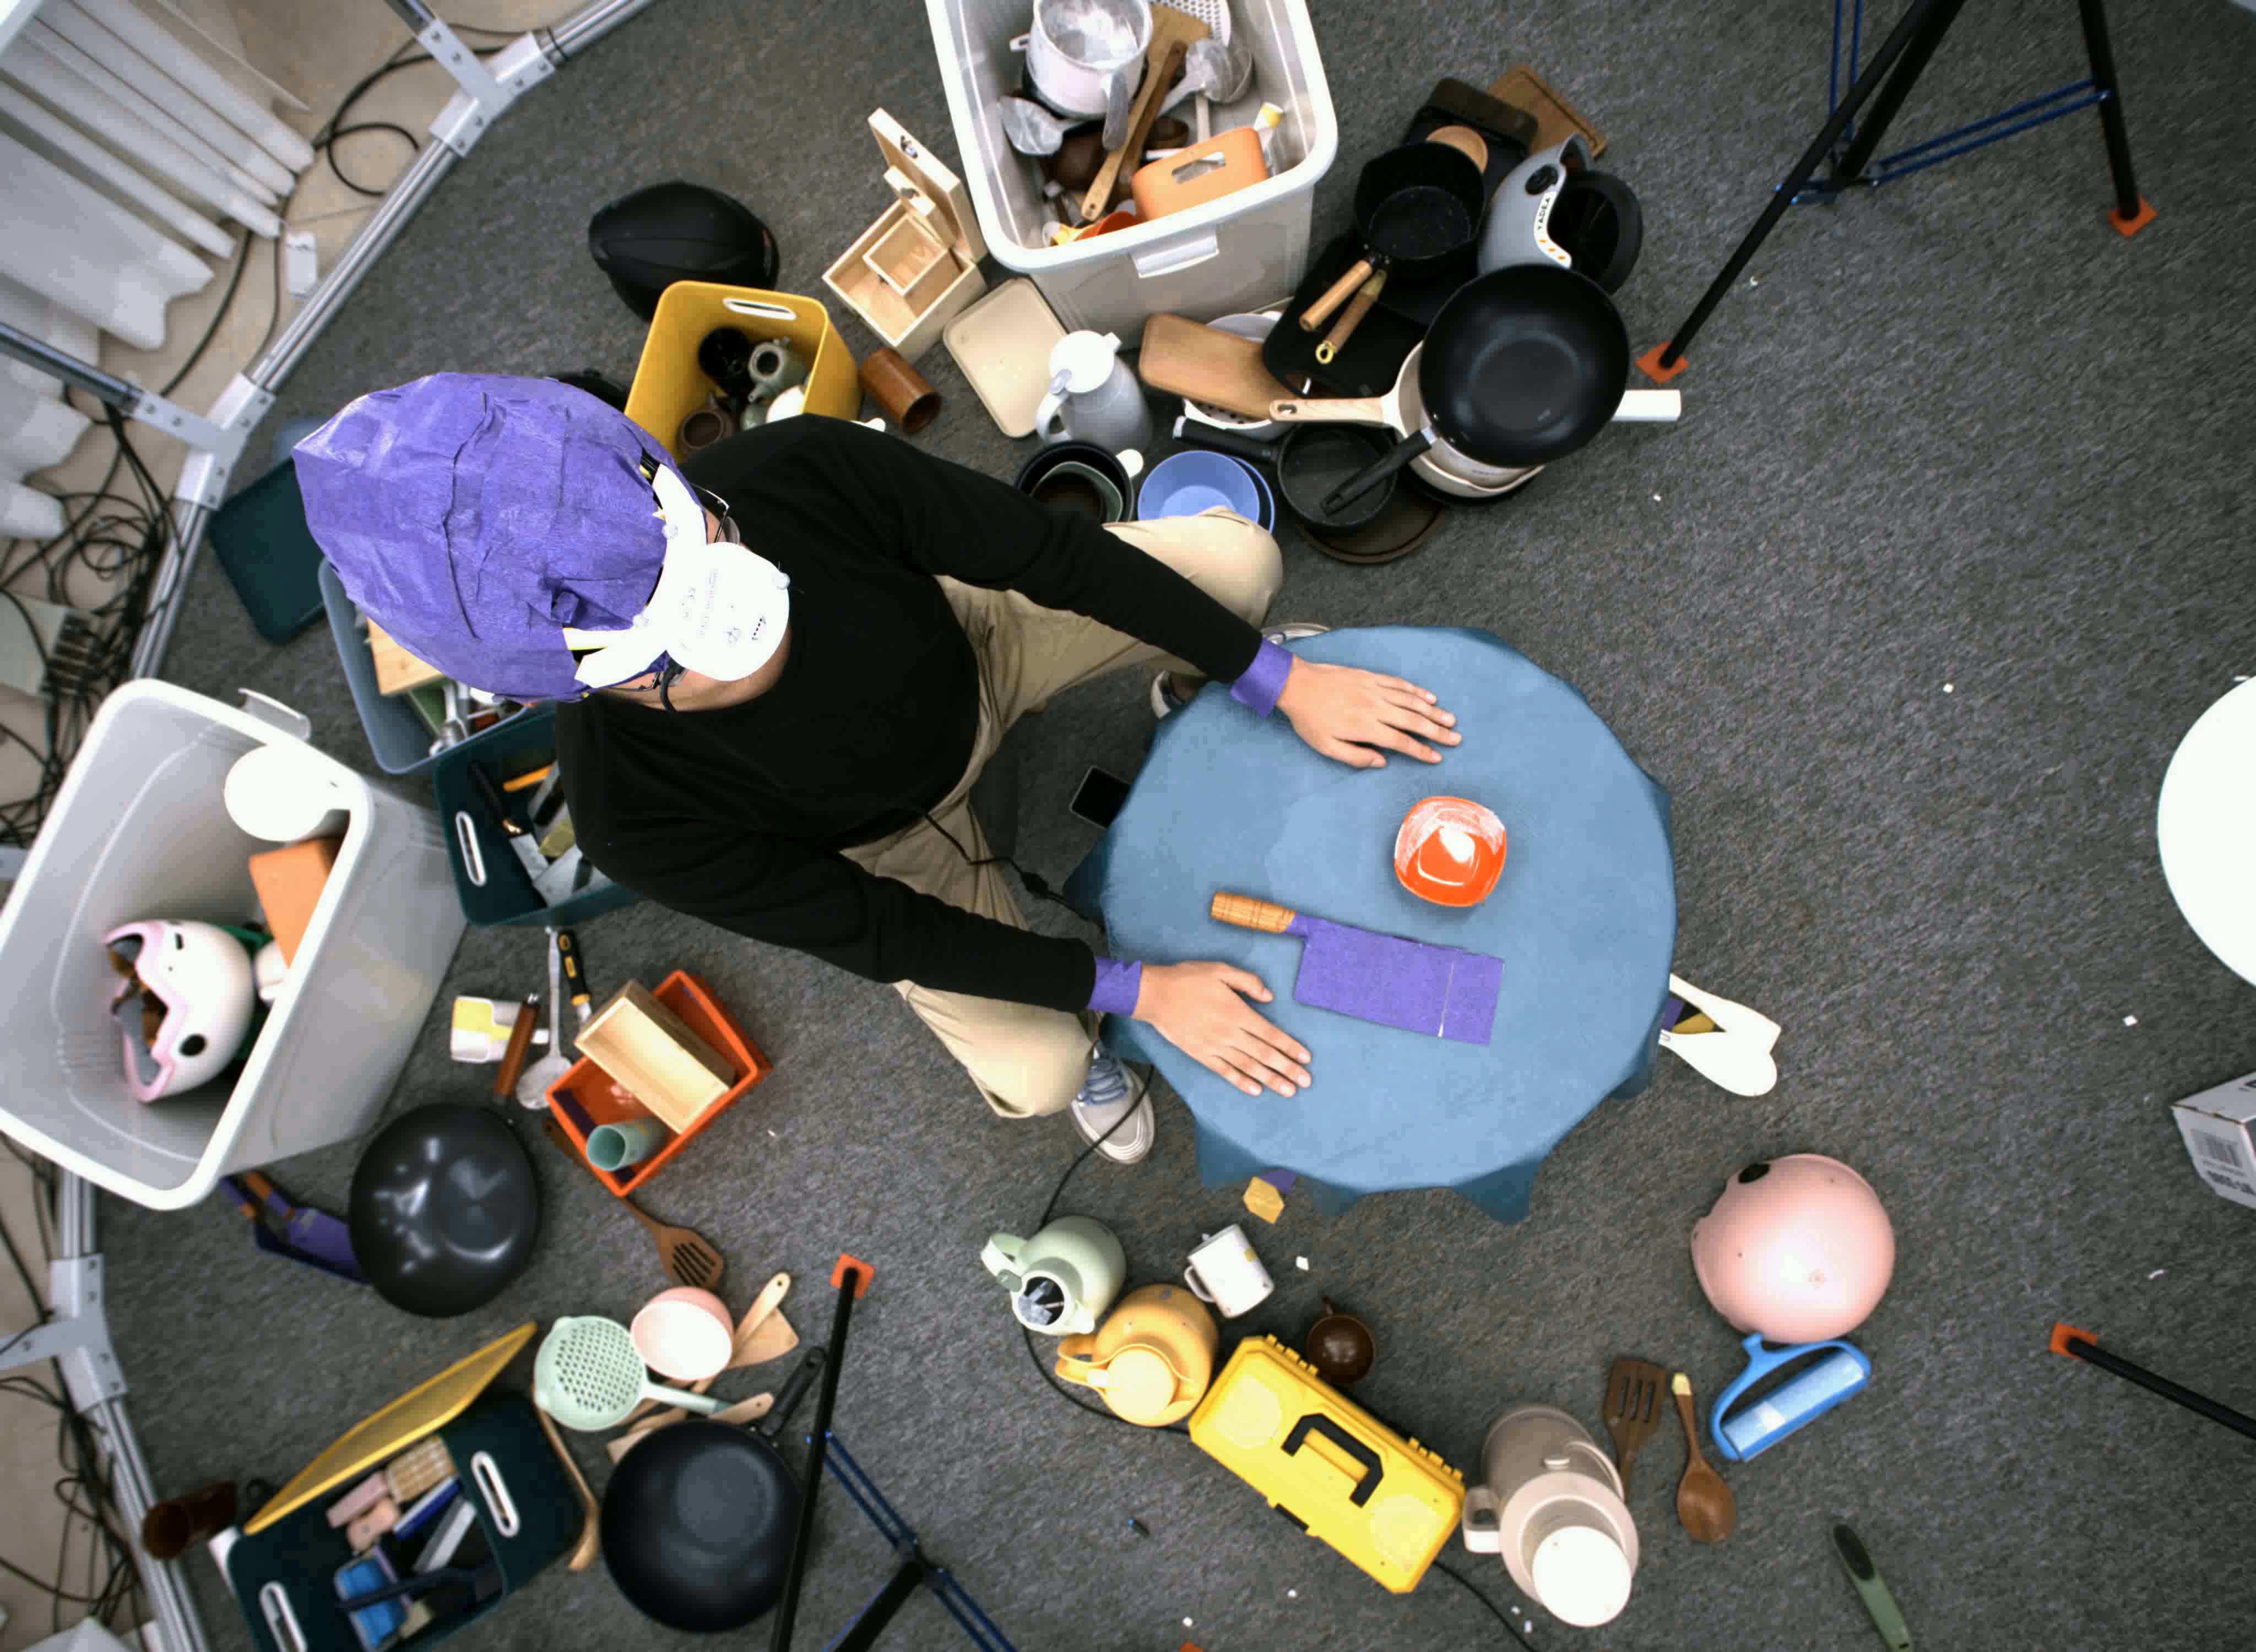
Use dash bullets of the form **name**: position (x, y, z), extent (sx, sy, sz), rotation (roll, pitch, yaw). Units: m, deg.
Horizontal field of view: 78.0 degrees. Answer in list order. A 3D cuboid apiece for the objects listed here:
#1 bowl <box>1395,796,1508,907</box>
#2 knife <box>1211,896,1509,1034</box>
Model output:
- **bowl**: position (0.332, 0.025, 1.423), extent (0.119, 0.051, 0.118), rotation (0, 89, 8)
- **knife**: position (0.235, 0.147, 1.451), extent (0.316, 0.032, 0.103), rotation (12, 89, 11)
